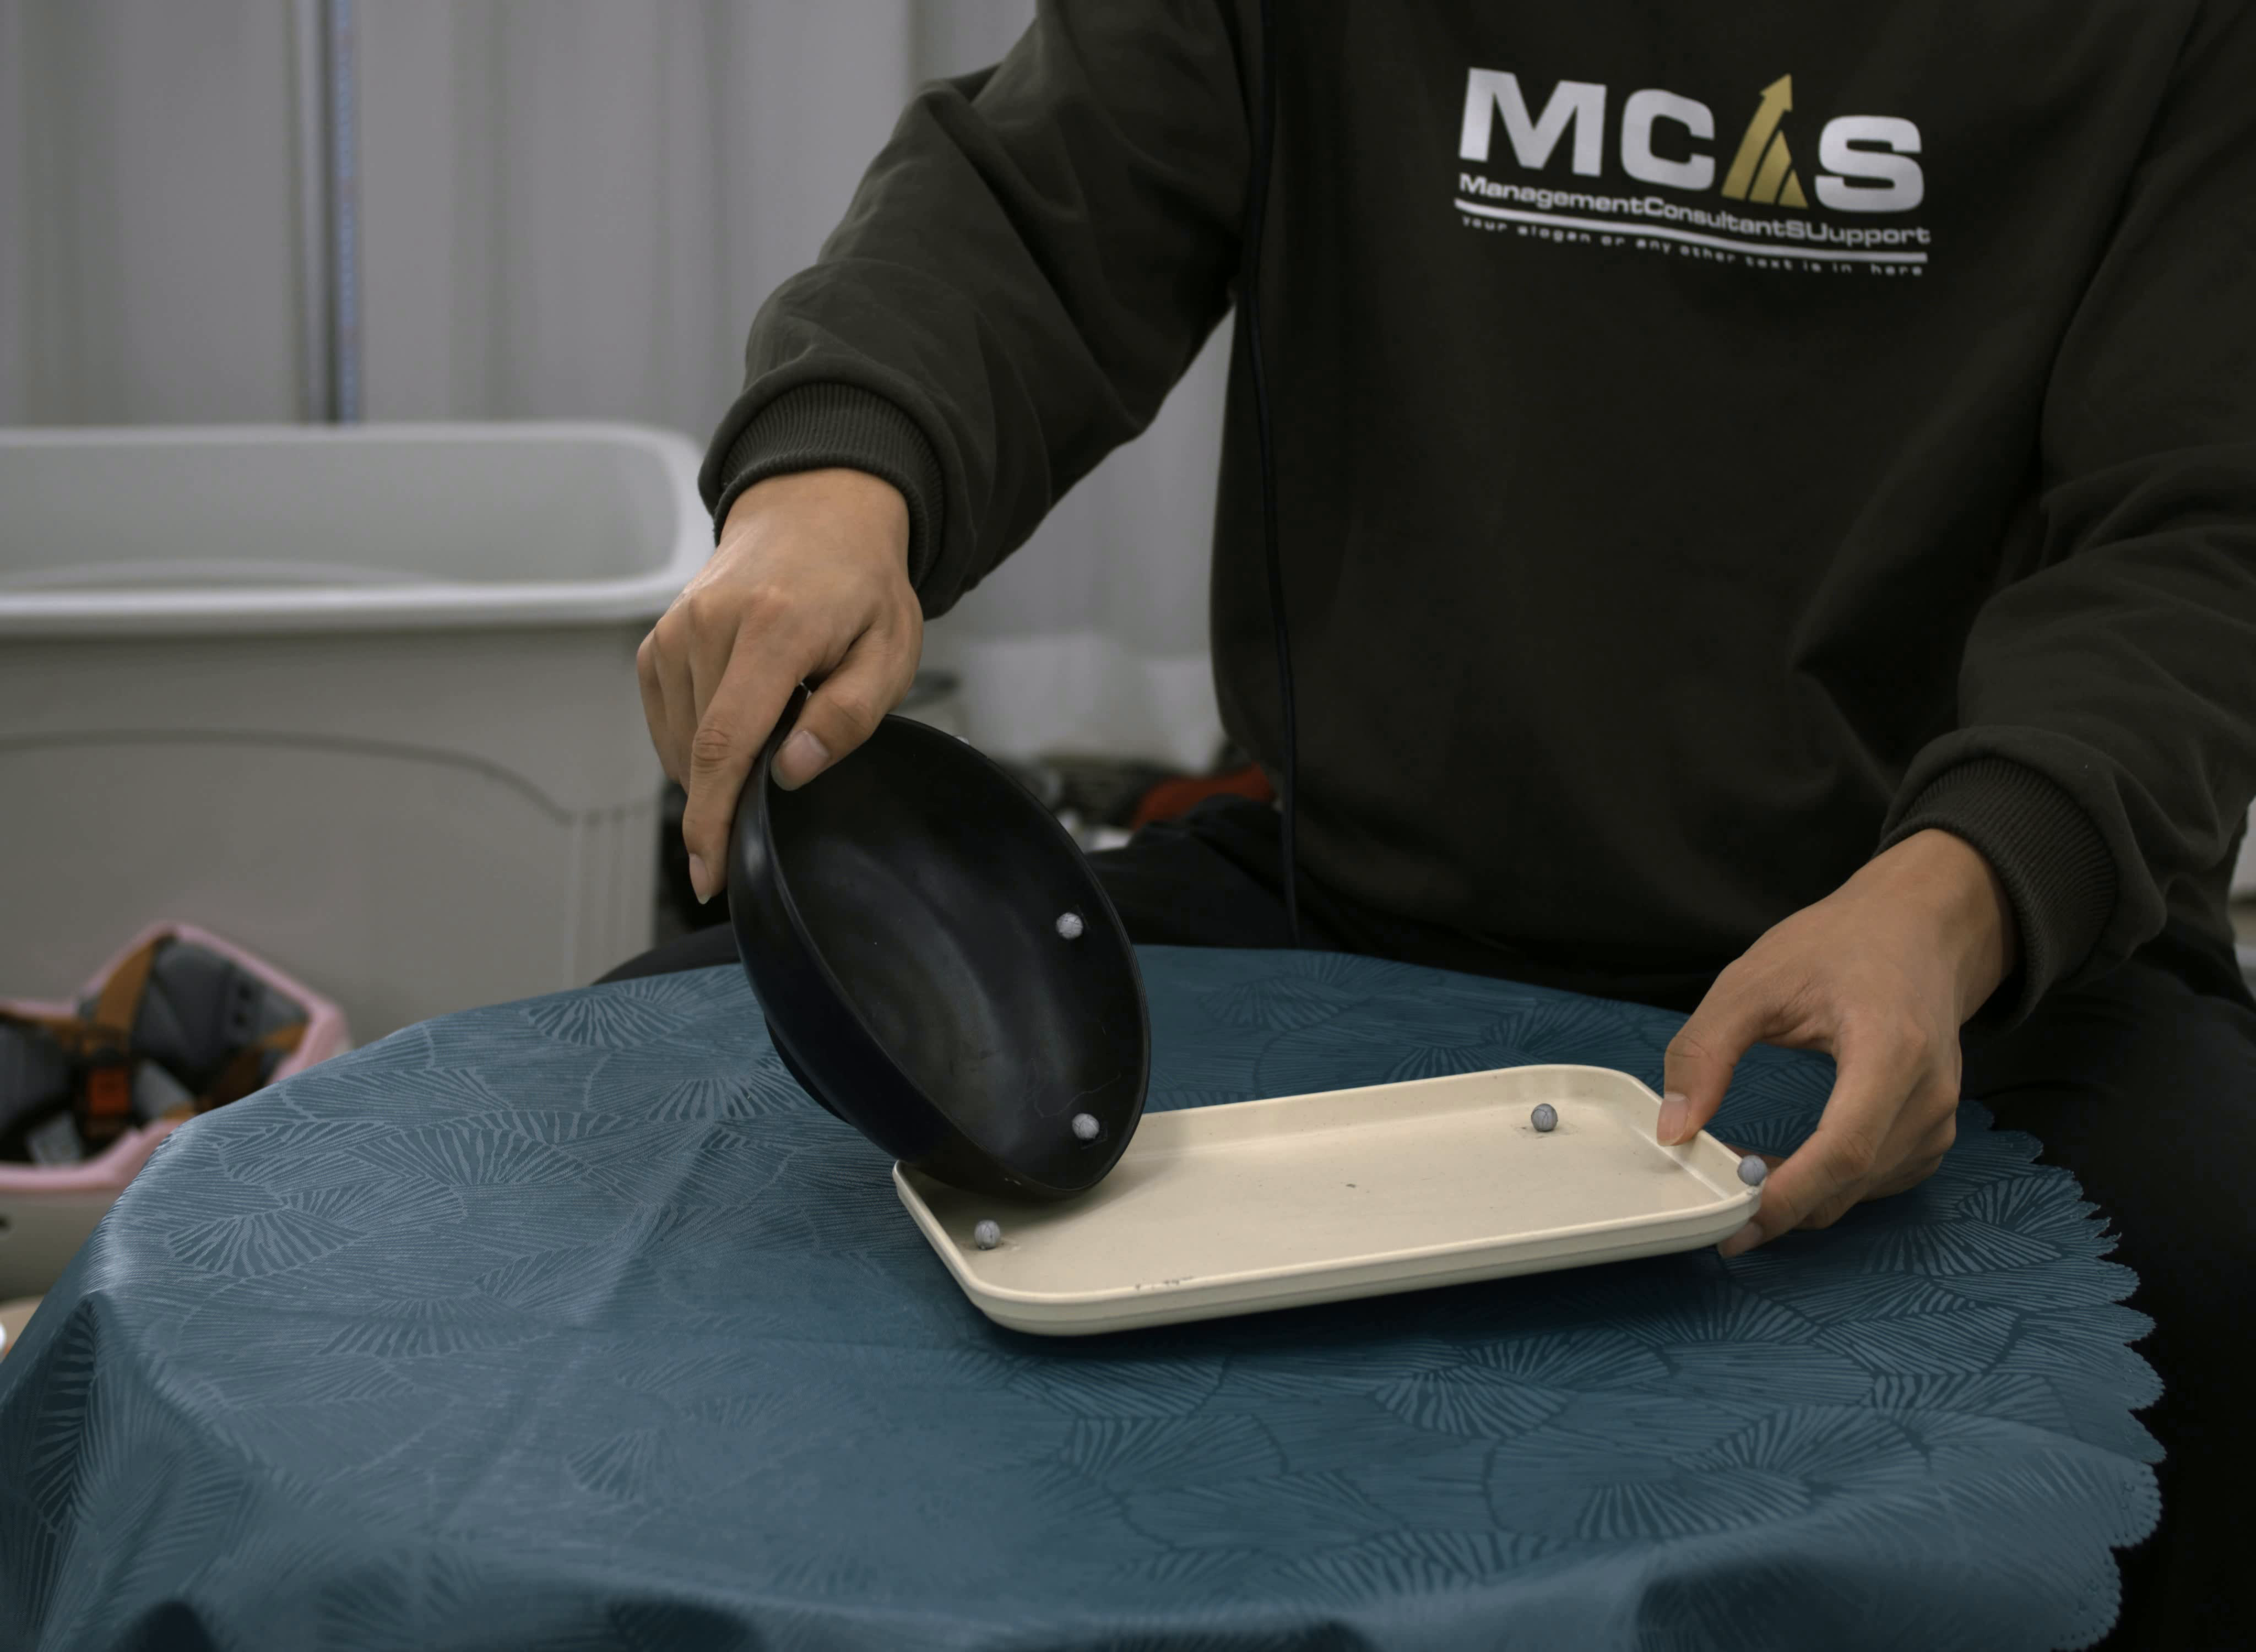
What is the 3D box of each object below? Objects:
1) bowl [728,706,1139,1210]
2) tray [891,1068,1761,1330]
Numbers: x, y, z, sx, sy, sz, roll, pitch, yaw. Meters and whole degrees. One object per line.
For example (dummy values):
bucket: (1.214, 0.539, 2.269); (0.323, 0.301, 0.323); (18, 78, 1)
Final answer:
bowl: (-0.068, 0.048, 1.615); (0.066, 0.170, 0.138); (-37, -8, 37)
tray: (0.057, 0.111, 1.574); (0.240, 0.017, 0.170); (-6, 12, -13)
